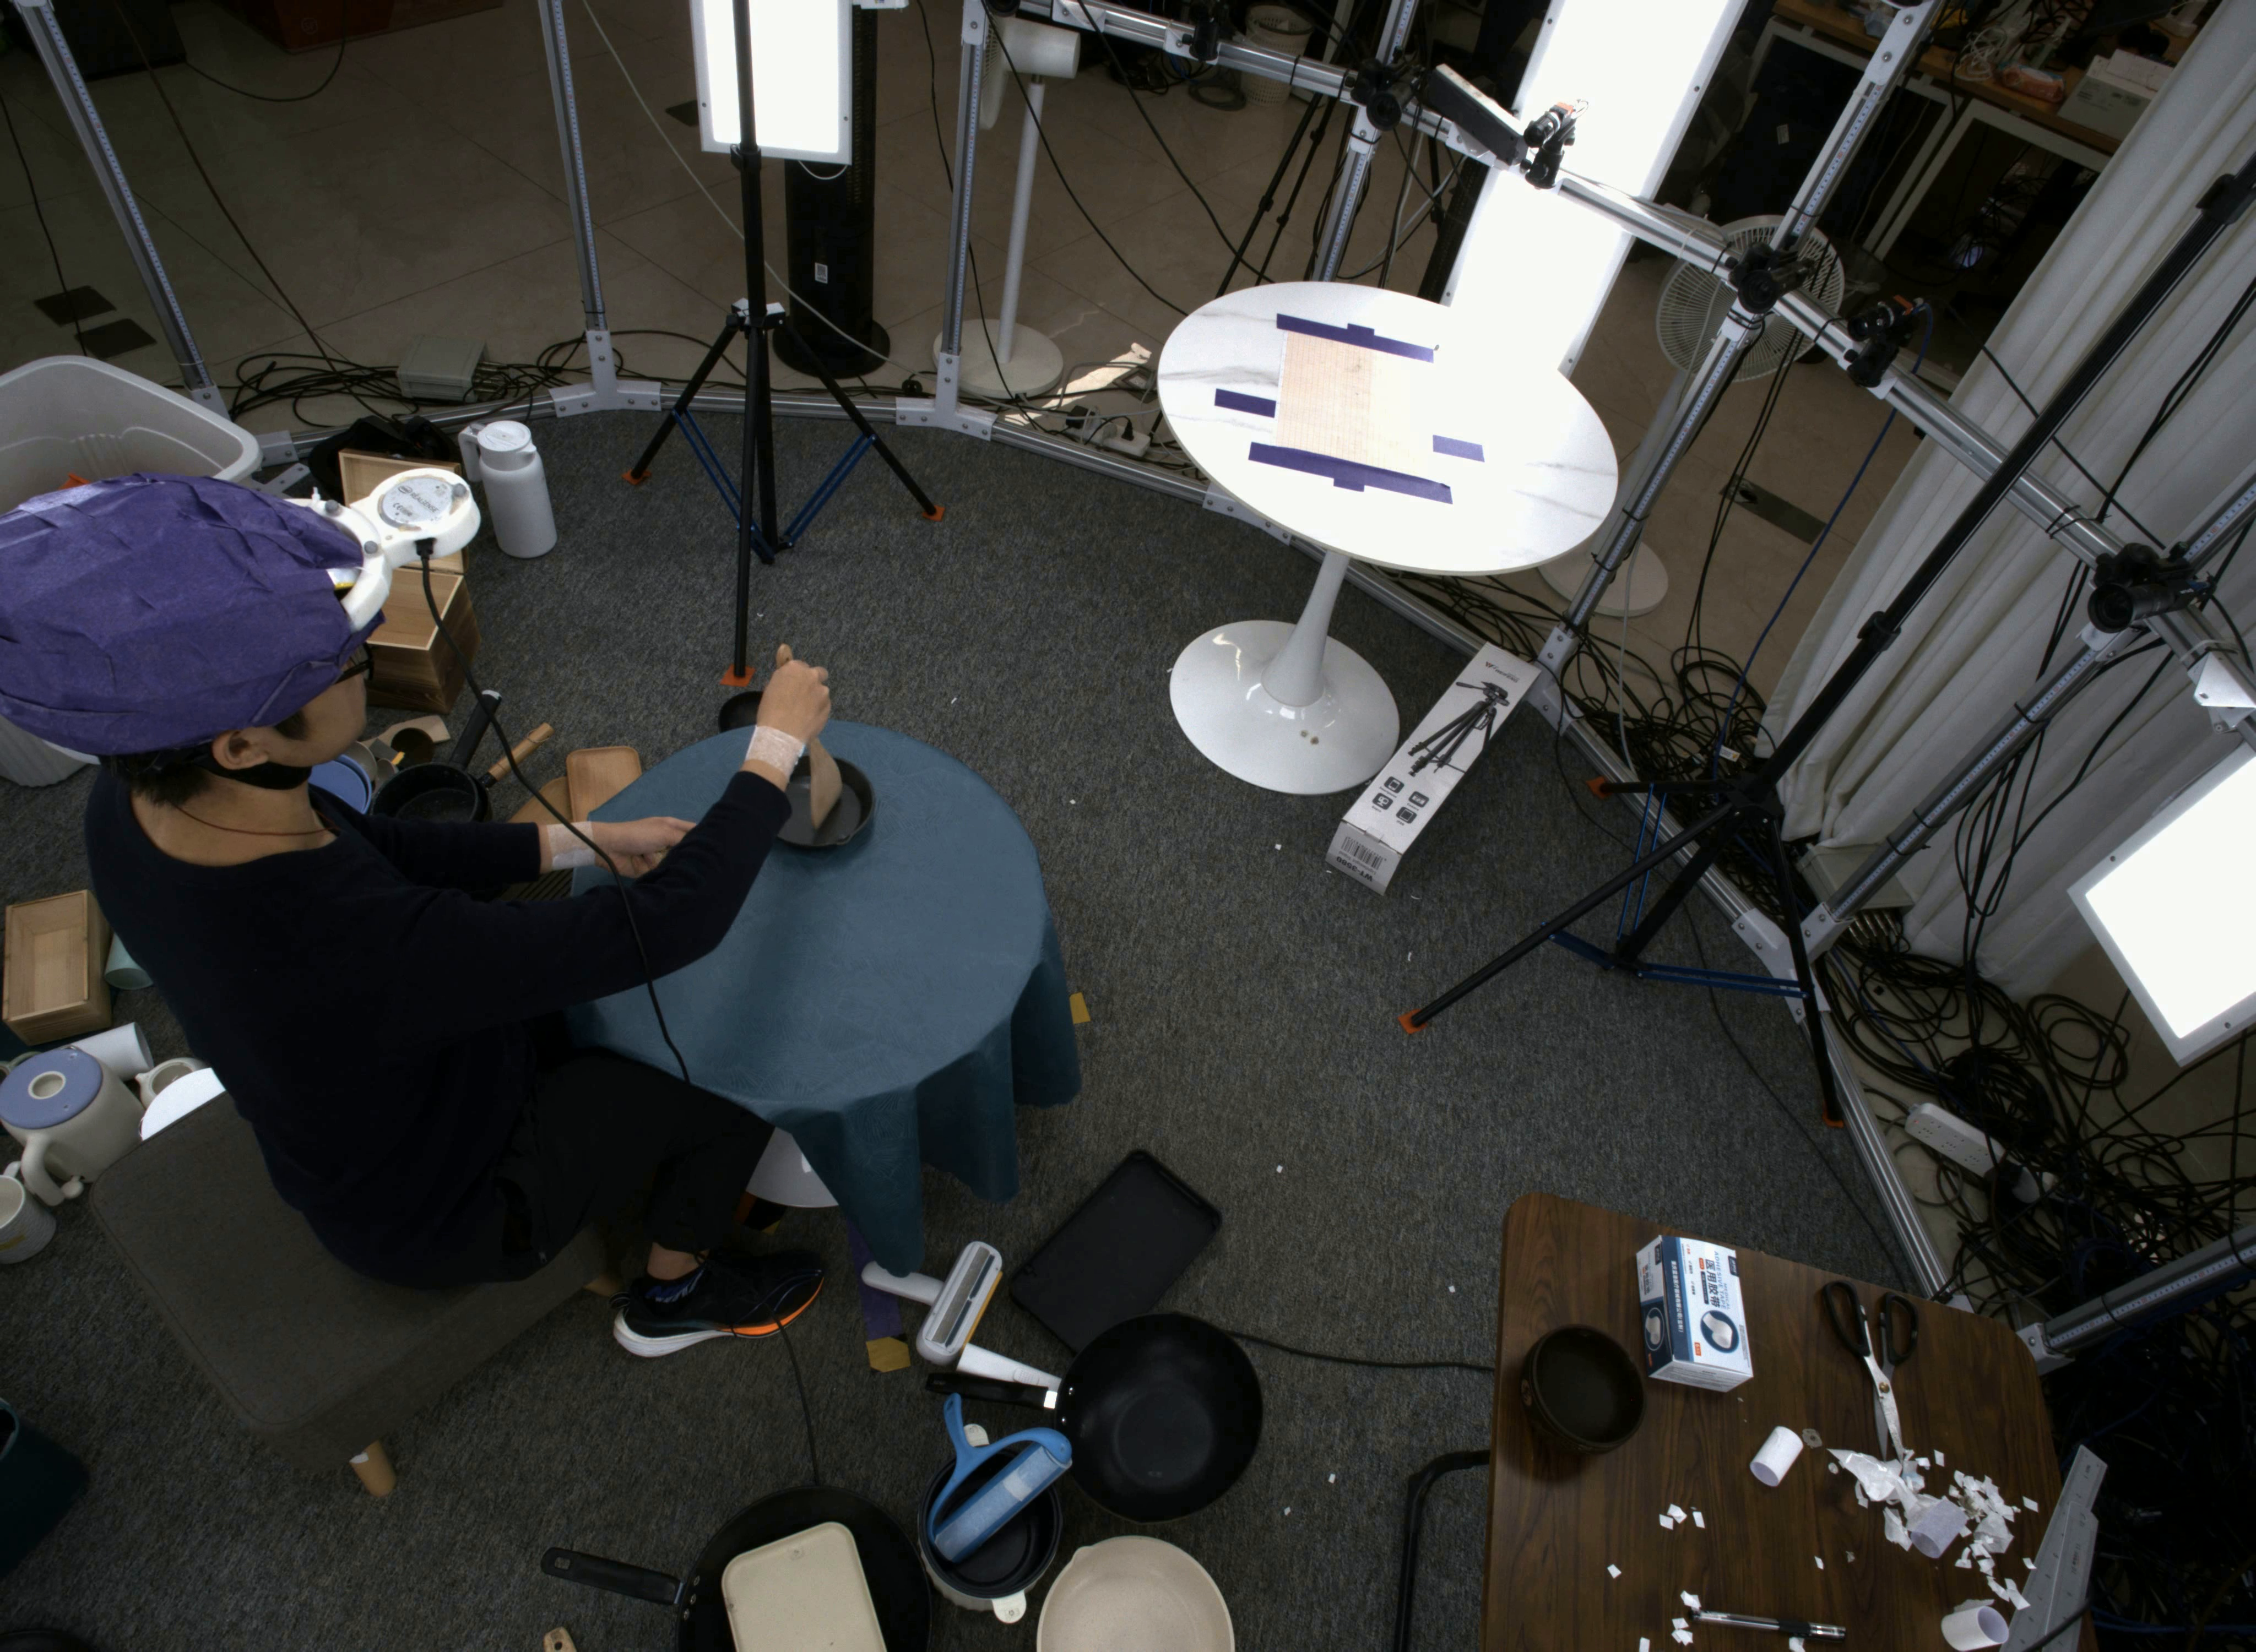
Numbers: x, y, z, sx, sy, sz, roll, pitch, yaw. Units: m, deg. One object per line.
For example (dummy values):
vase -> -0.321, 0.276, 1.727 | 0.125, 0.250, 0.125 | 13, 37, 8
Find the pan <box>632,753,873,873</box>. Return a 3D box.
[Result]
pan -> -0.484, -0.004, 1.668 | 0.326, 0.050, 0.165 | -23, 62, -30

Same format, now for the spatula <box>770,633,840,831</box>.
spatula -> -0.400, -0.114, 1.597 | 0.016, 0.337, 0.079 | 14, 55, 12
